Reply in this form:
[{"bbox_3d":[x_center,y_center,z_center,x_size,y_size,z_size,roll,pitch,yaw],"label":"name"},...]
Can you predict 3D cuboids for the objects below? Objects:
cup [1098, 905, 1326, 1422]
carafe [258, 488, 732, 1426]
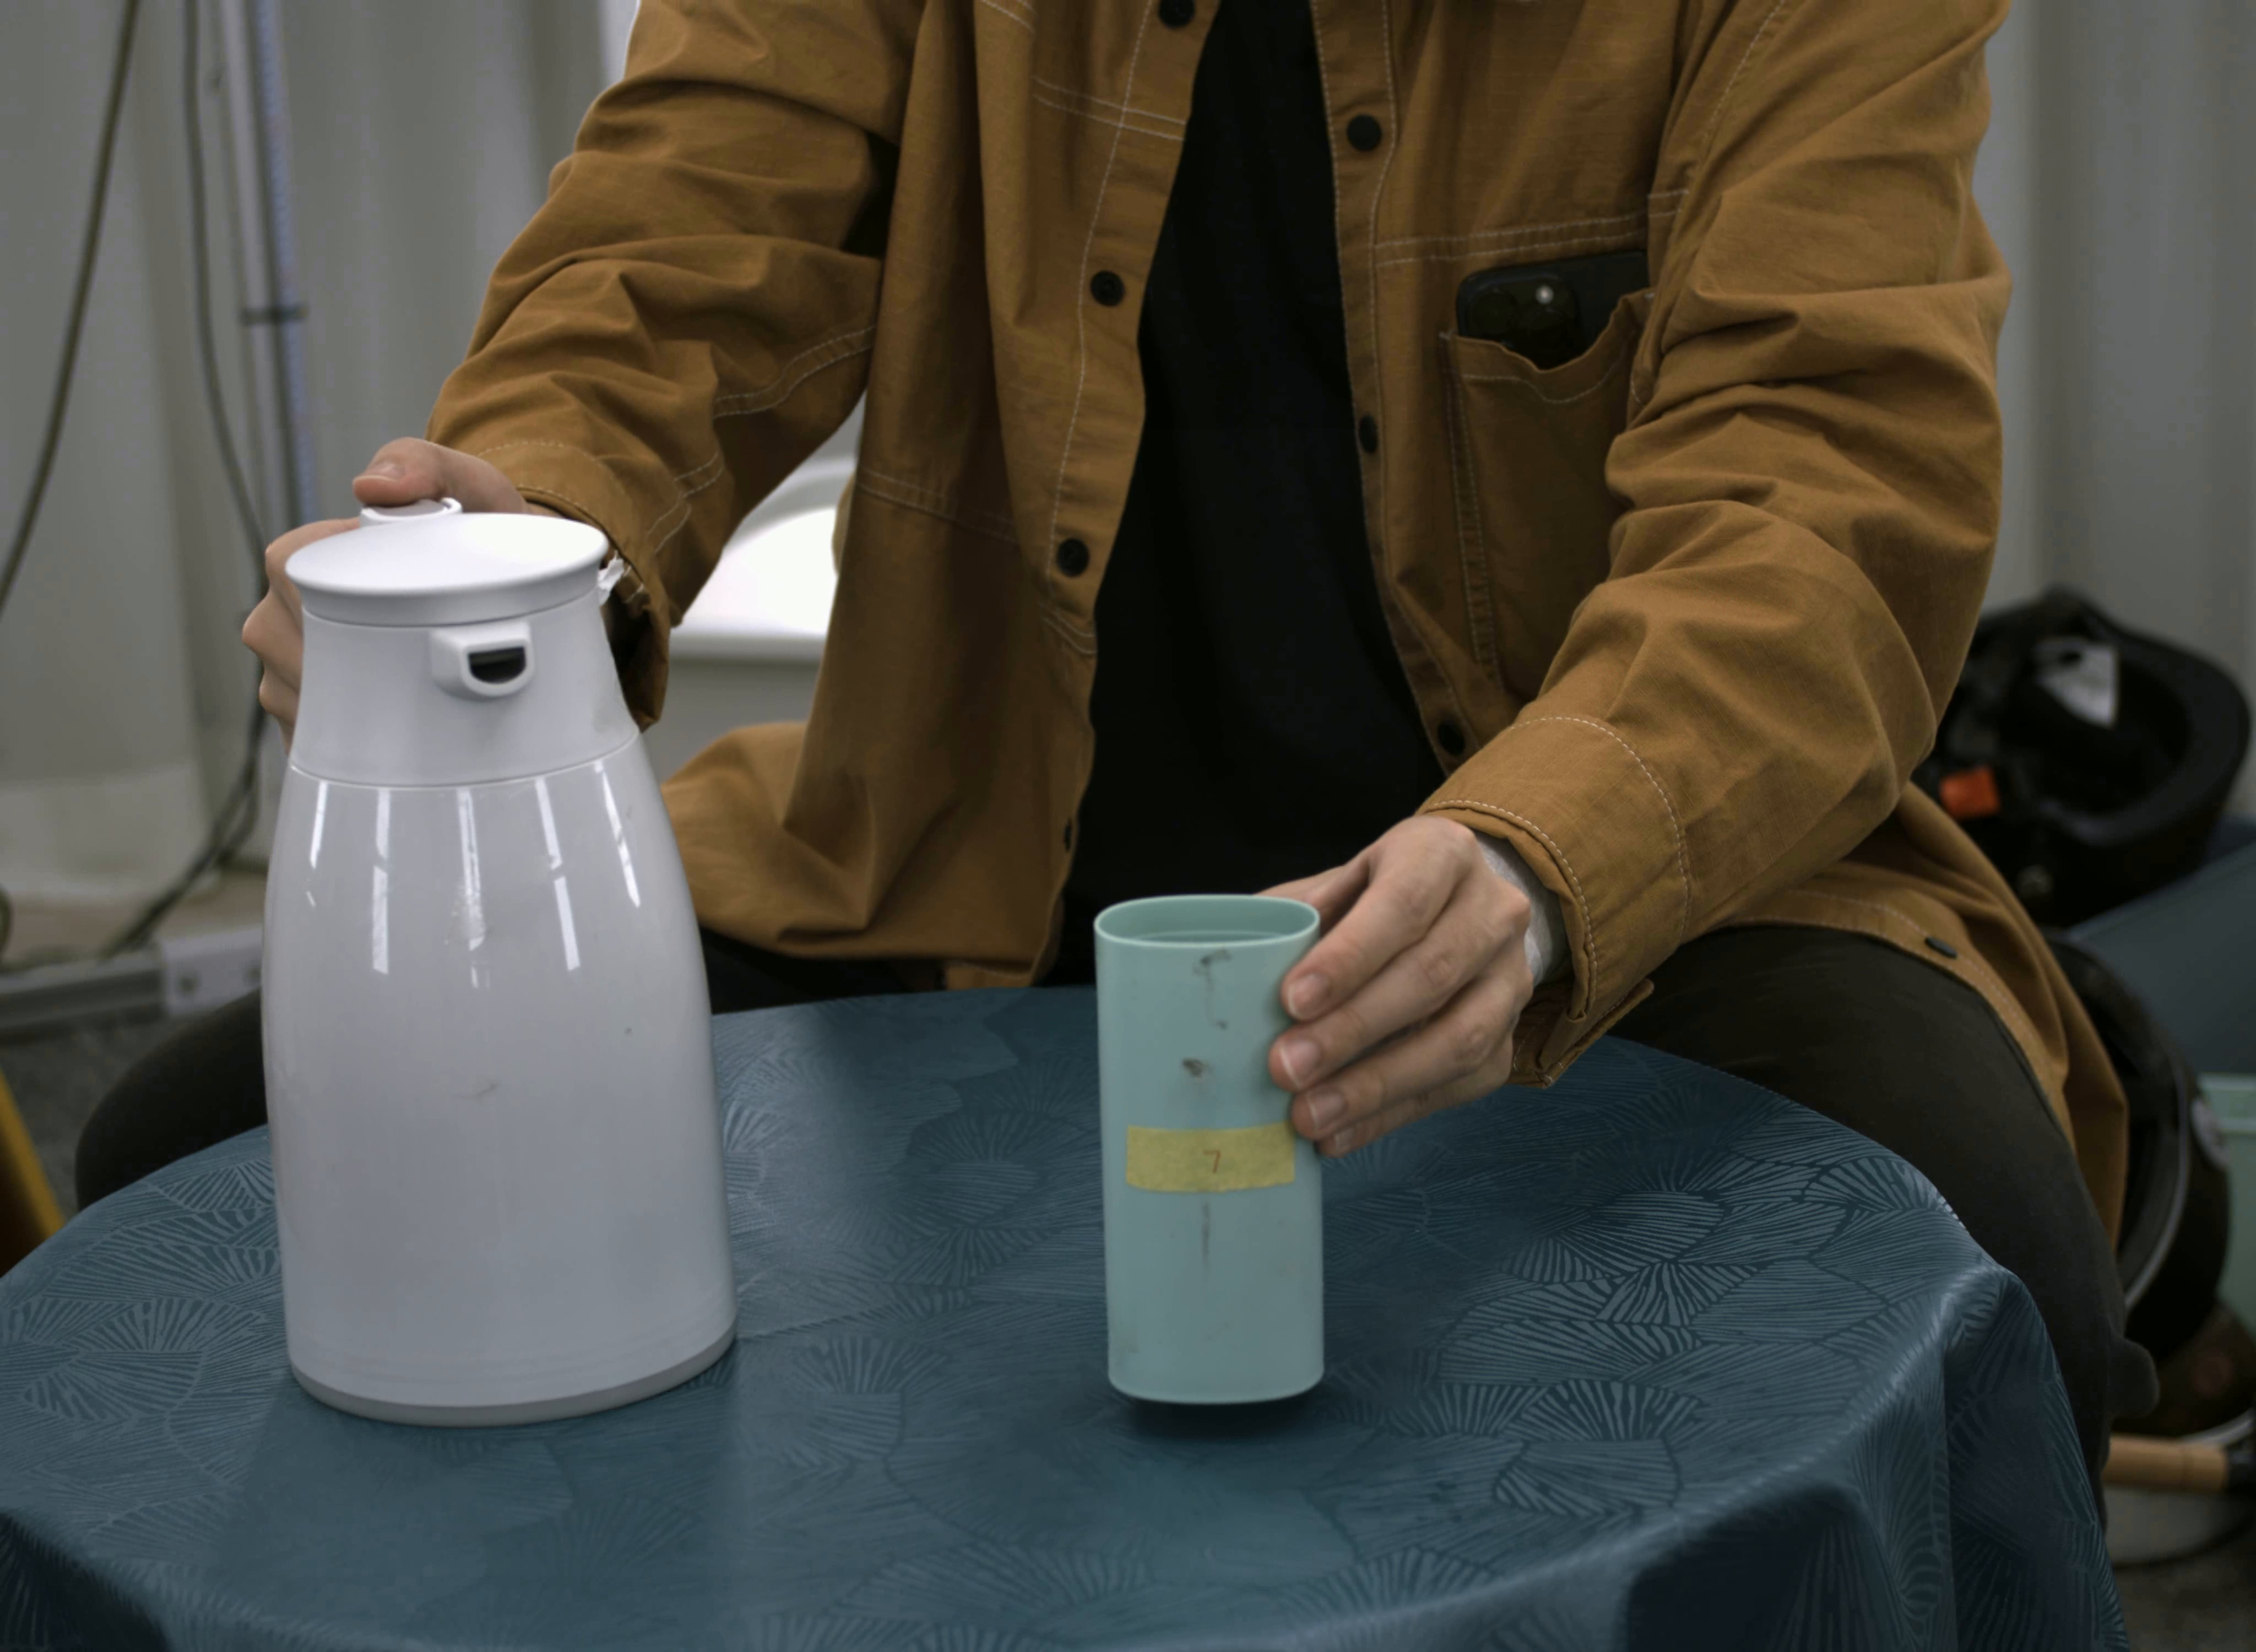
[{"bbox_3d":[0.024,0.092,1.515,0.066,0.132,0.067,-1,11,0],"label":"cup"},{"bbox_3d":[-0.194,0.029,1.591,0.132,0.247,0.169,-8,15,-18],"label":"carafe"}]
